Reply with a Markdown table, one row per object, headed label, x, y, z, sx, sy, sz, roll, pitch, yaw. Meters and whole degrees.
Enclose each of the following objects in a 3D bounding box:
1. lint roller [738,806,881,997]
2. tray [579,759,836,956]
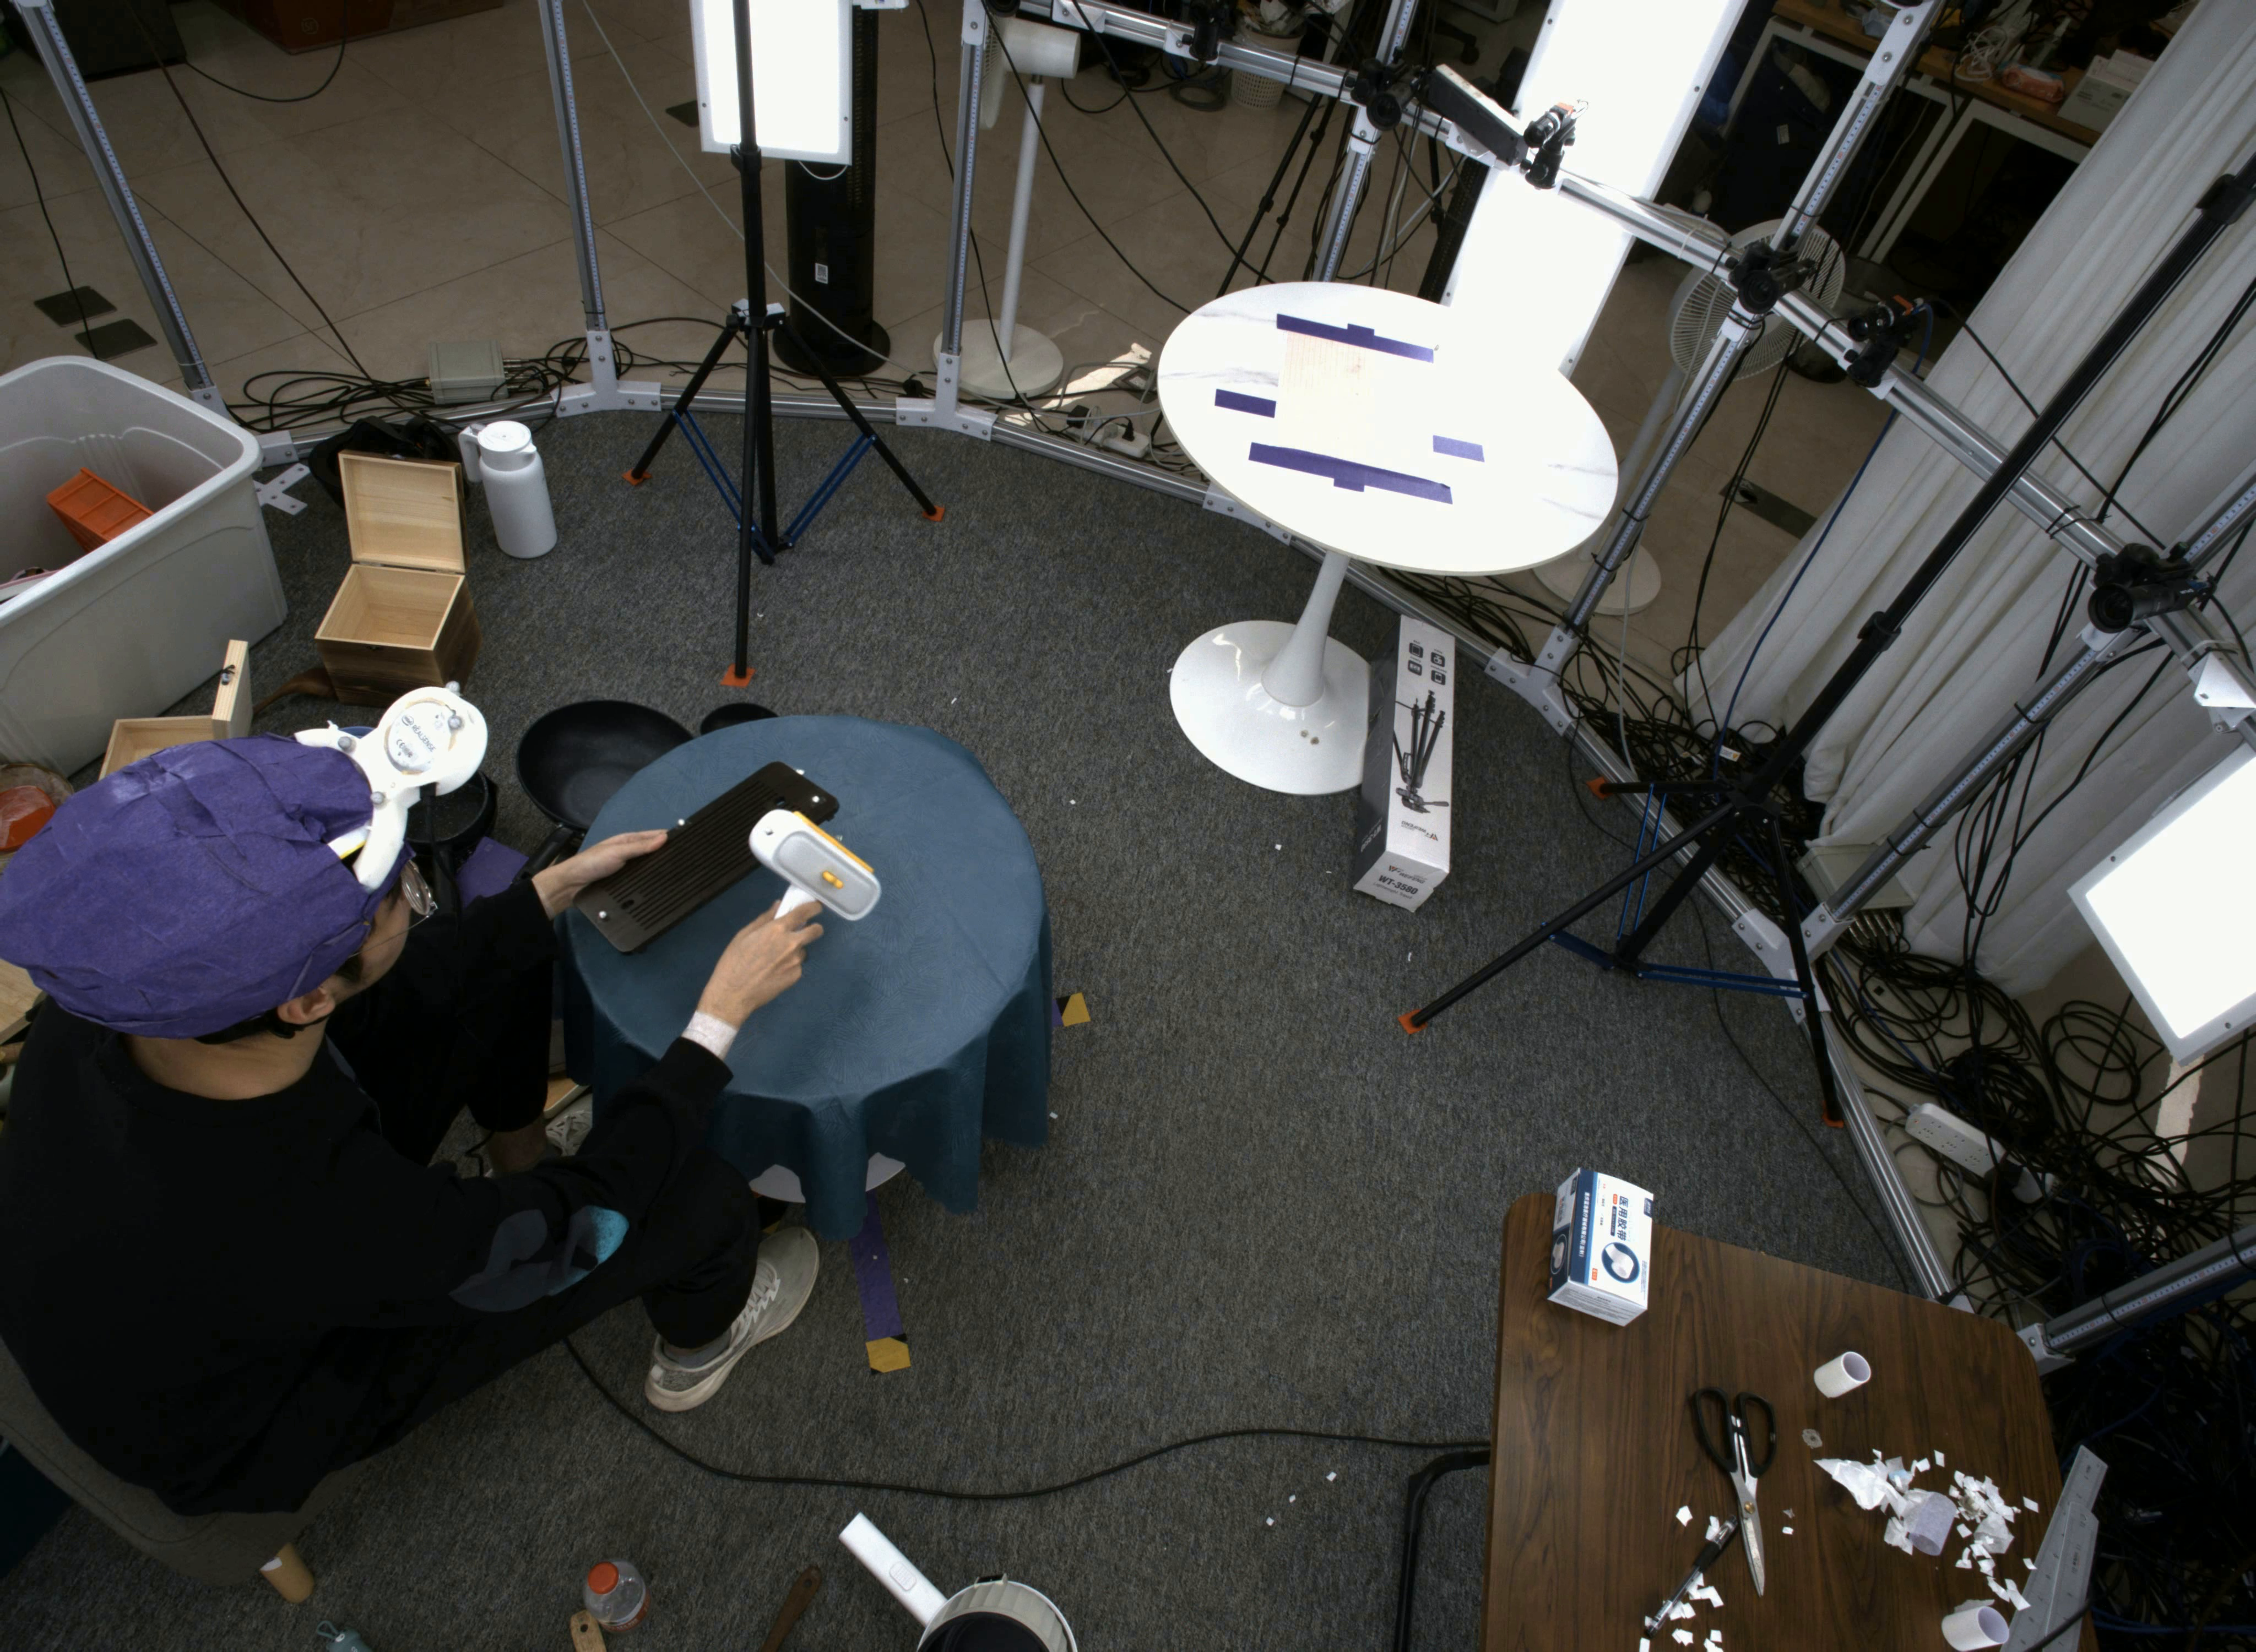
| label | x | y | z | sx | sy | sz | roll | pitch | yaw |
| --- | --- | --- | --- | --- | --- | --- | --- | --- | --- |
| lint roller | -0.382 | 0.096 | 1.477 | 0.071 | 0.199 | 0.193 | 22 | 80 | 35 |
| tray | -0.505 | 0.032 | 1.540 | 0.306 | 0.019 | 0.163 | -39 | 44 | -24 |
